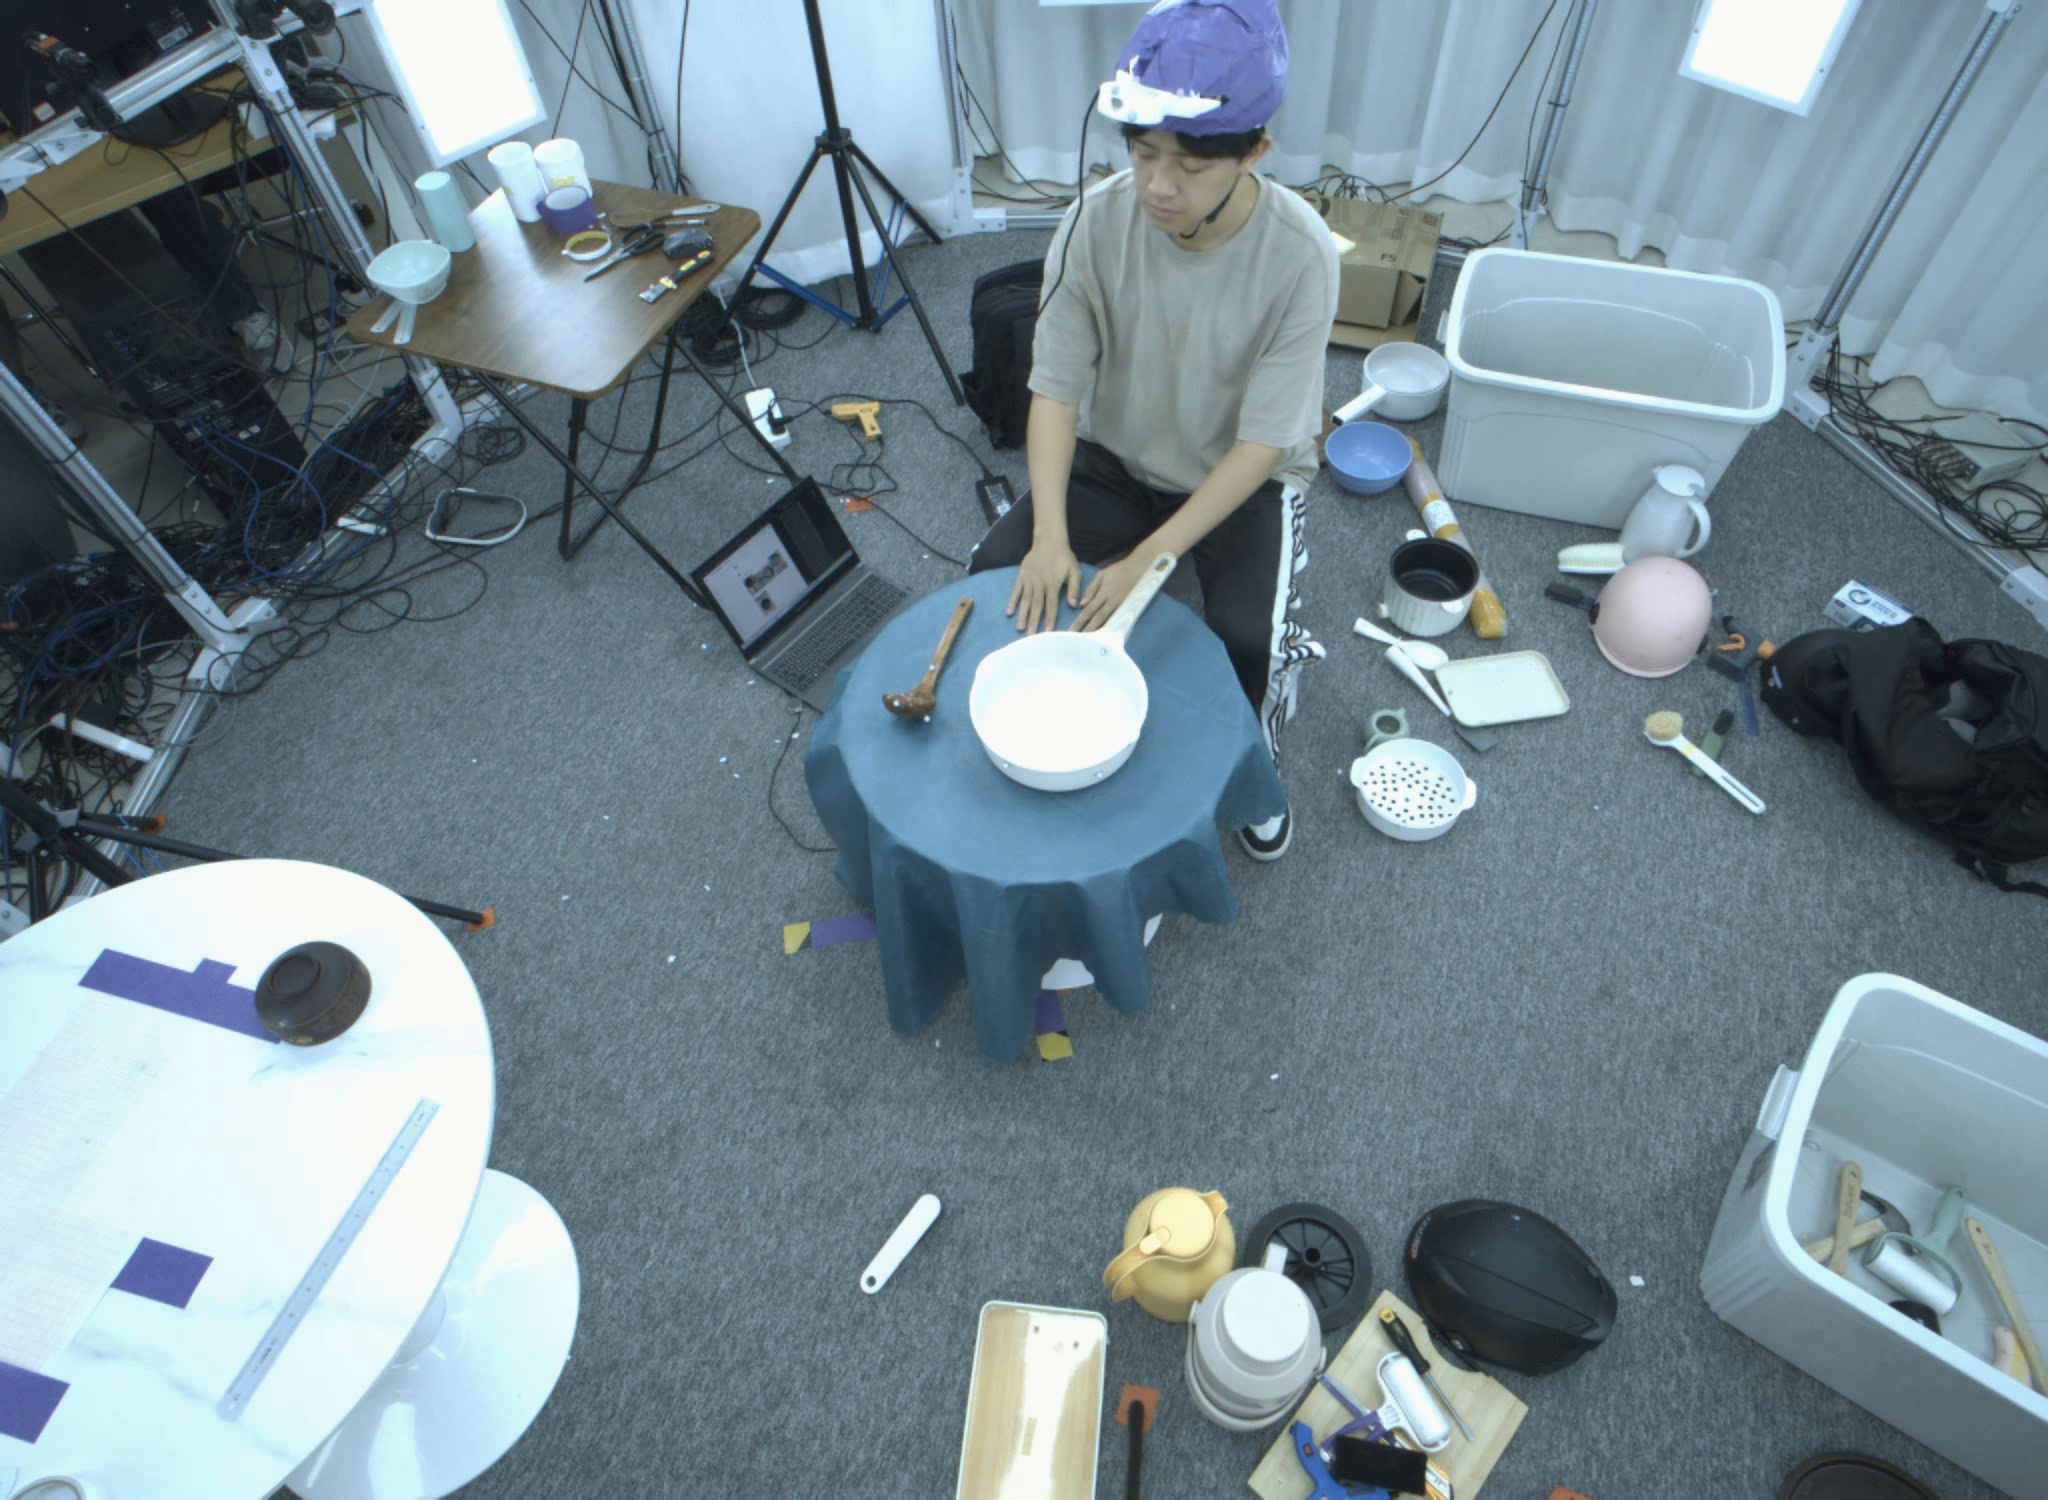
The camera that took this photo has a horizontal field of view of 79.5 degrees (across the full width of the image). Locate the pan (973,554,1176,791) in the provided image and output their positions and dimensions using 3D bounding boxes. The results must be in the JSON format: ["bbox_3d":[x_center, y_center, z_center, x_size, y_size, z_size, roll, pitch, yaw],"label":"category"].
[{"bbox_3d":[0.106,-0.116,1.802,0.259,0.103,0.436,27,60,22],"label":"pan"}]

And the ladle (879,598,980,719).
[{"bbox_3d":[-0.135,-0.152,1.850,0.081,0.077,0.273,15,57,15],"label":"ladle"}]
